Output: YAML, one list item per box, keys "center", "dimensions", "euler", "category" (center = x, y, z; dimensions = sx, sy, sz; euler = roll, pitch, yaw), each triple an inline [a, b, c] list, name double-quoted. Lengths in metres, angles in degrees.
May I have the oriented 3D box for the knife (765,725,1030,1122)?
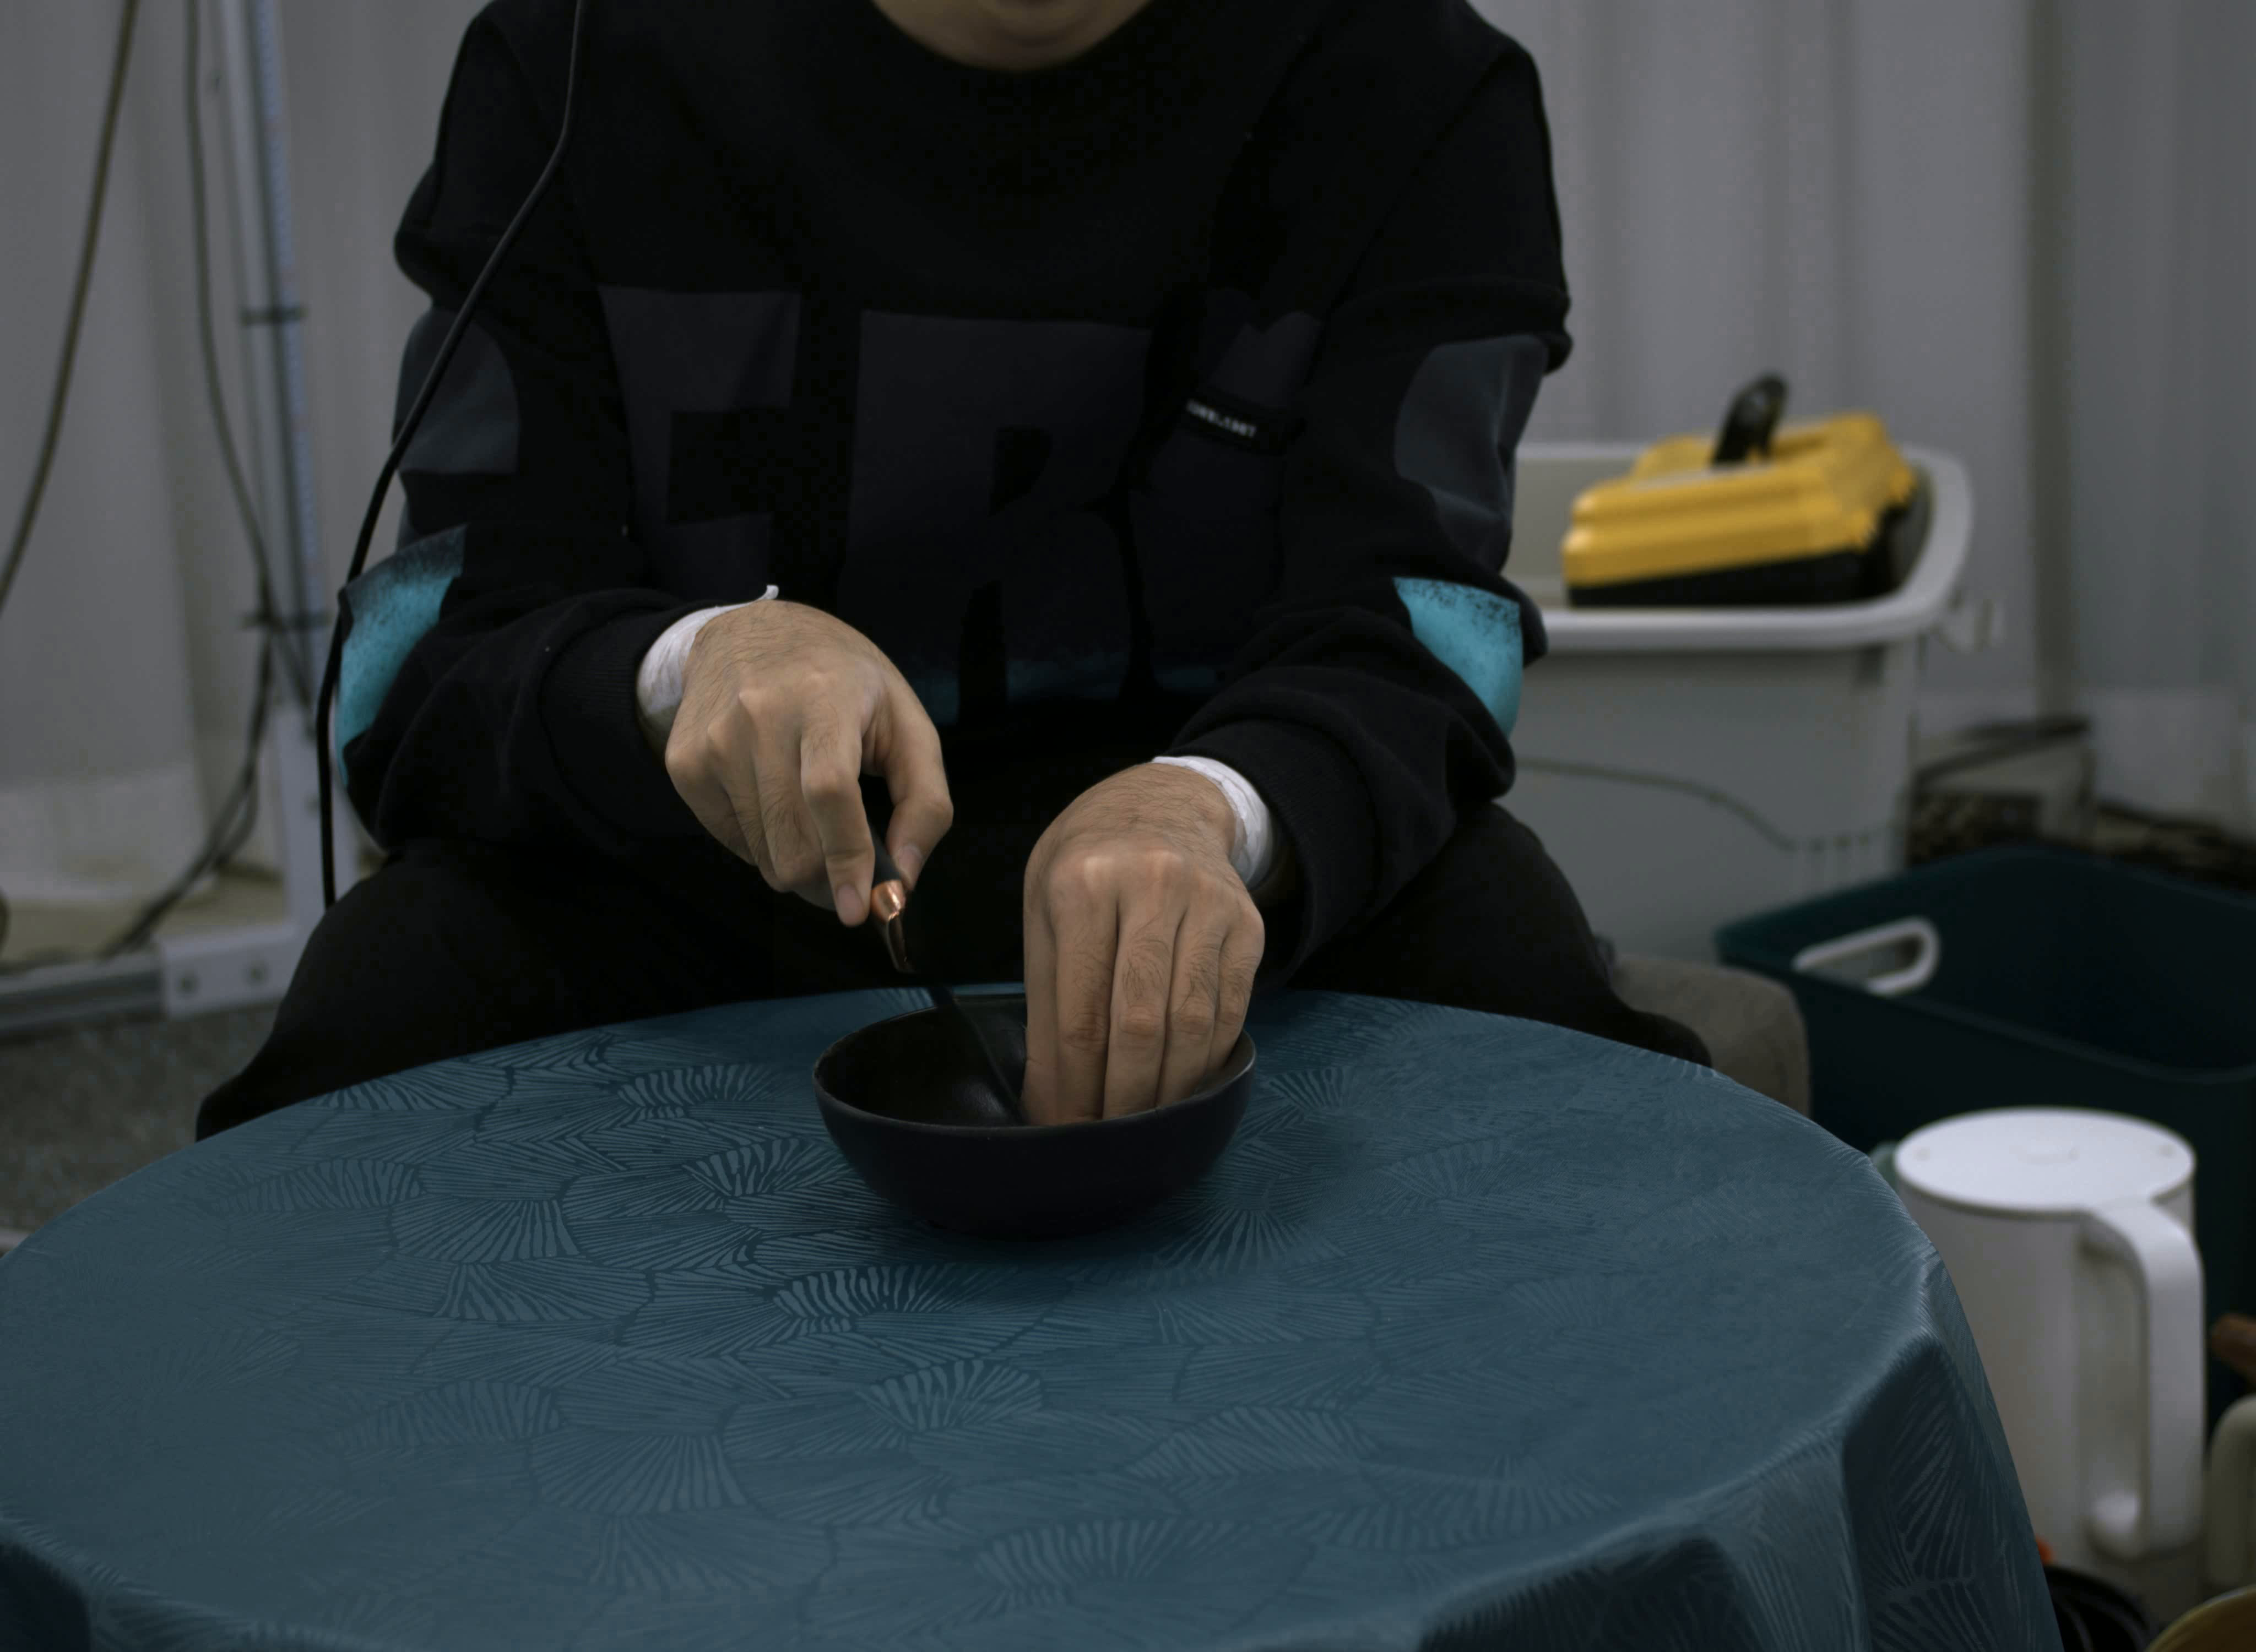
- center: [-0.069, 0.038, 1.737]
  dimensions: [0.017, 0.026, 0.229]
  euler: [-18, 42, -17]
  category: "knife"

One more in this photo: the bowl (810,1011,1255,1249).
- center: [-0.028, 0.098, 1.699]
  dimensions: [0.139, 0.049, 0.141]
  euler: [-5, 11, 1]
  category: "bowl"
